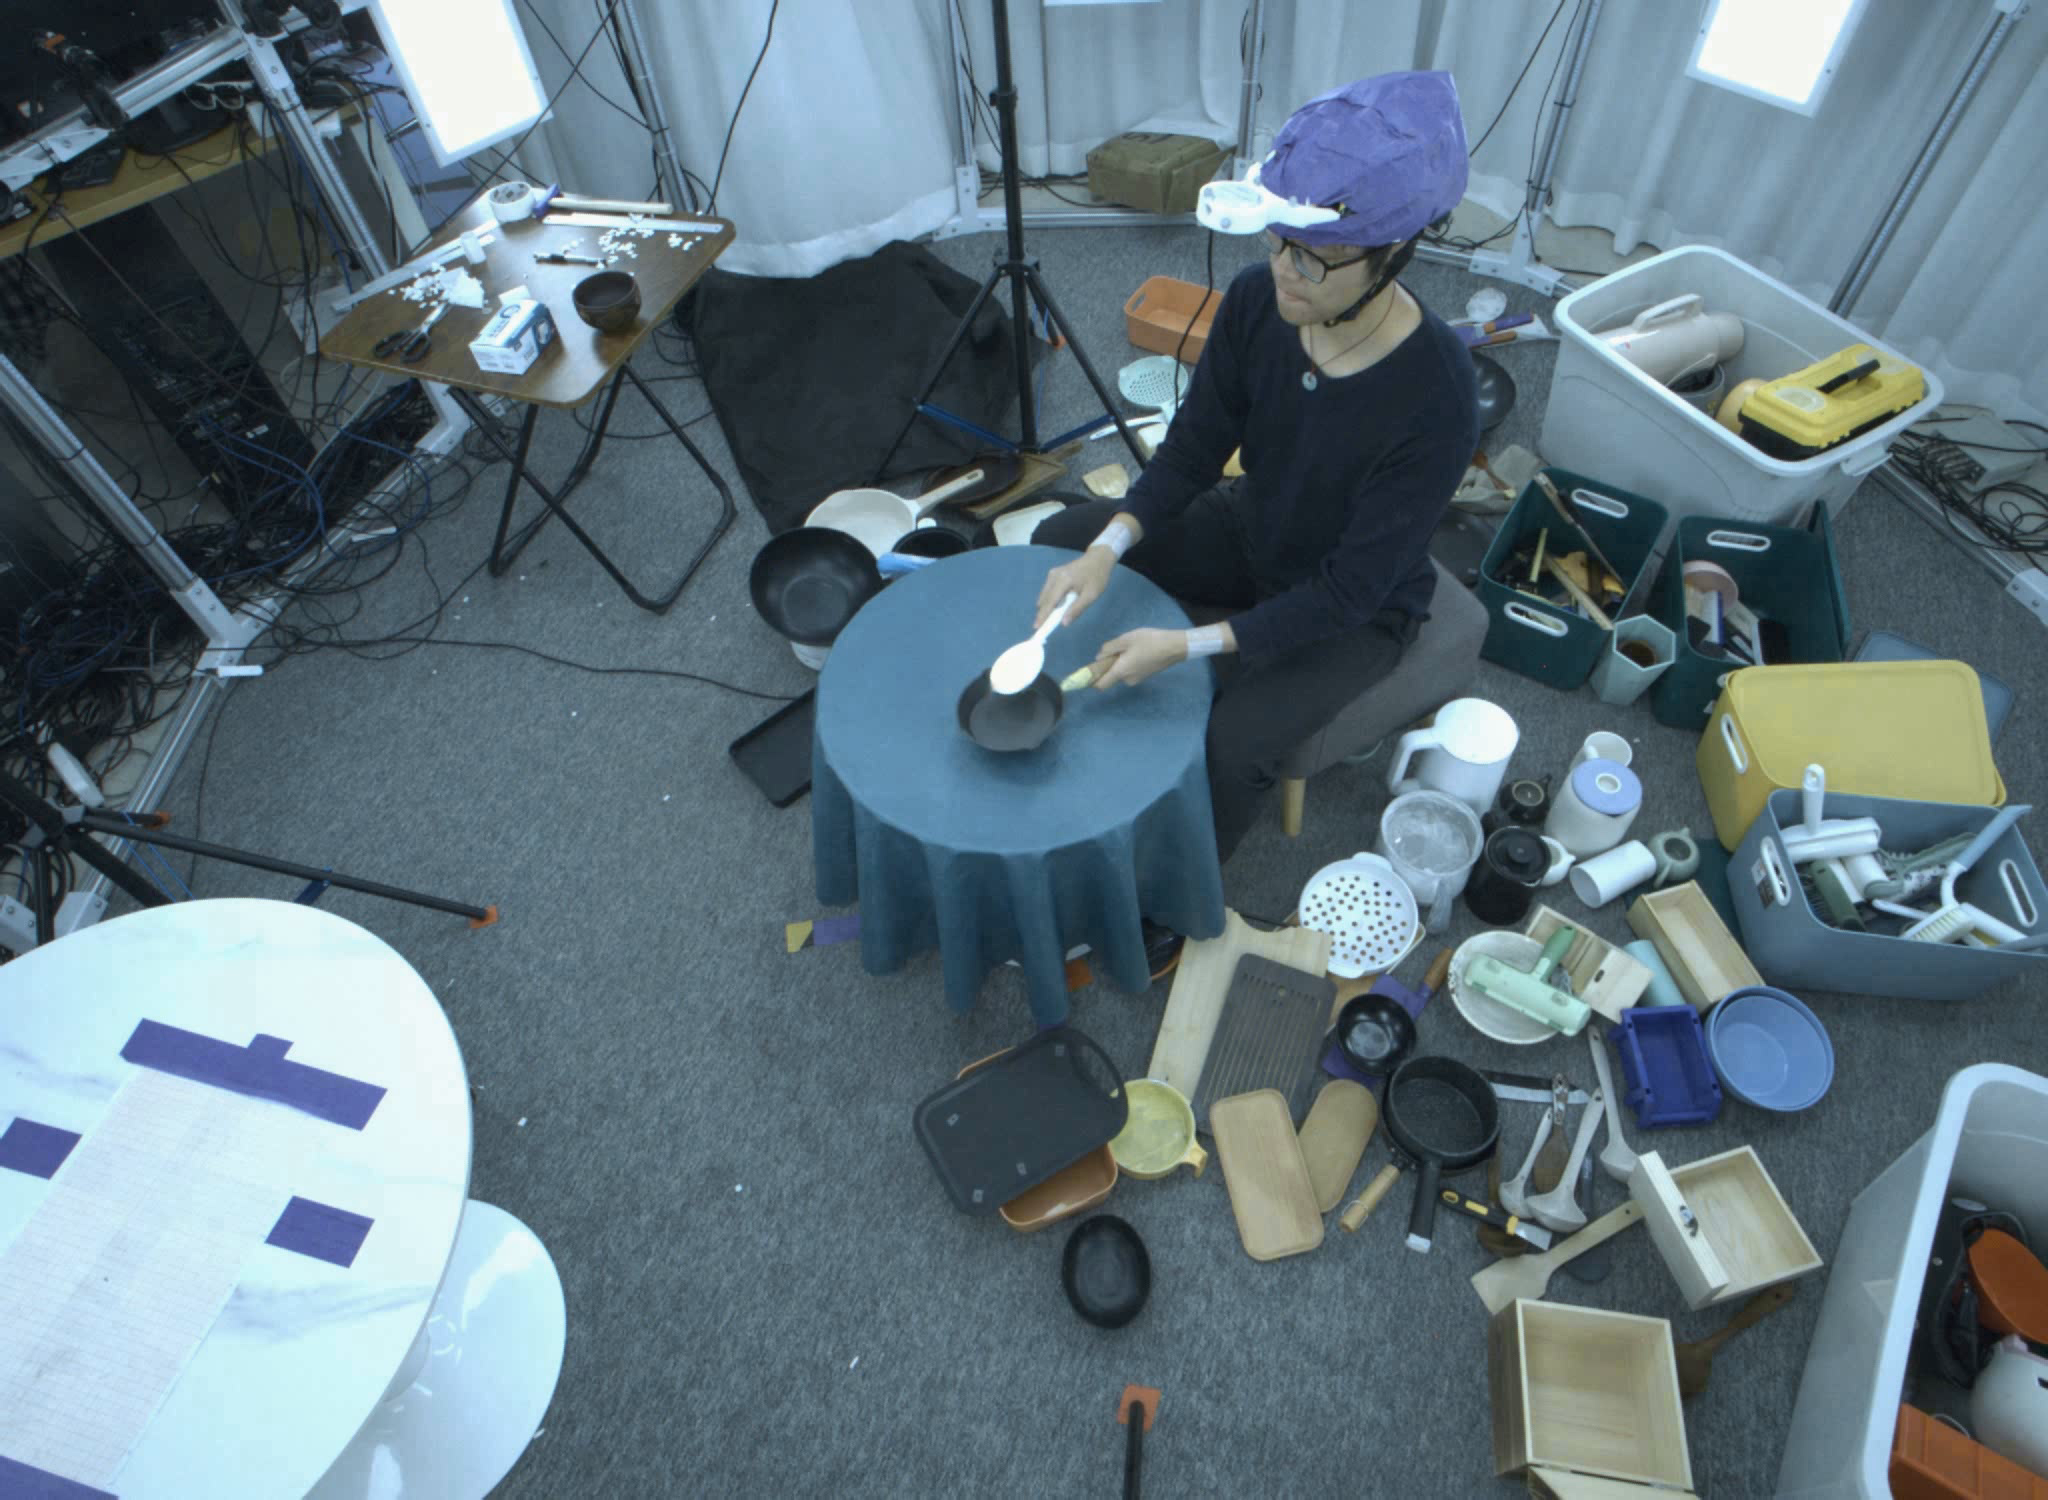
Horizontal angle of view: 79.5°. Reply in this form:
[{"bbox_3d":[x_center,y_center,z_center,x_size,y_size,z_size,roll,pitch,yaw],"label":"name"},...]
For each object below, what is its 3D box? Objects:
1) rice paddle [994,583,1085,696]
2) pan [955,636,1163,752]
[{"bbox_3d":[0.024,-0.159,1.783,0.067,0.030,0.205,23,66,28],"label":"rice paddle"},{"bbox_3d":[0.058,-0.092,1.780,0.326,0.050,0.166,-22,55,-10],"label":"pan"}]
